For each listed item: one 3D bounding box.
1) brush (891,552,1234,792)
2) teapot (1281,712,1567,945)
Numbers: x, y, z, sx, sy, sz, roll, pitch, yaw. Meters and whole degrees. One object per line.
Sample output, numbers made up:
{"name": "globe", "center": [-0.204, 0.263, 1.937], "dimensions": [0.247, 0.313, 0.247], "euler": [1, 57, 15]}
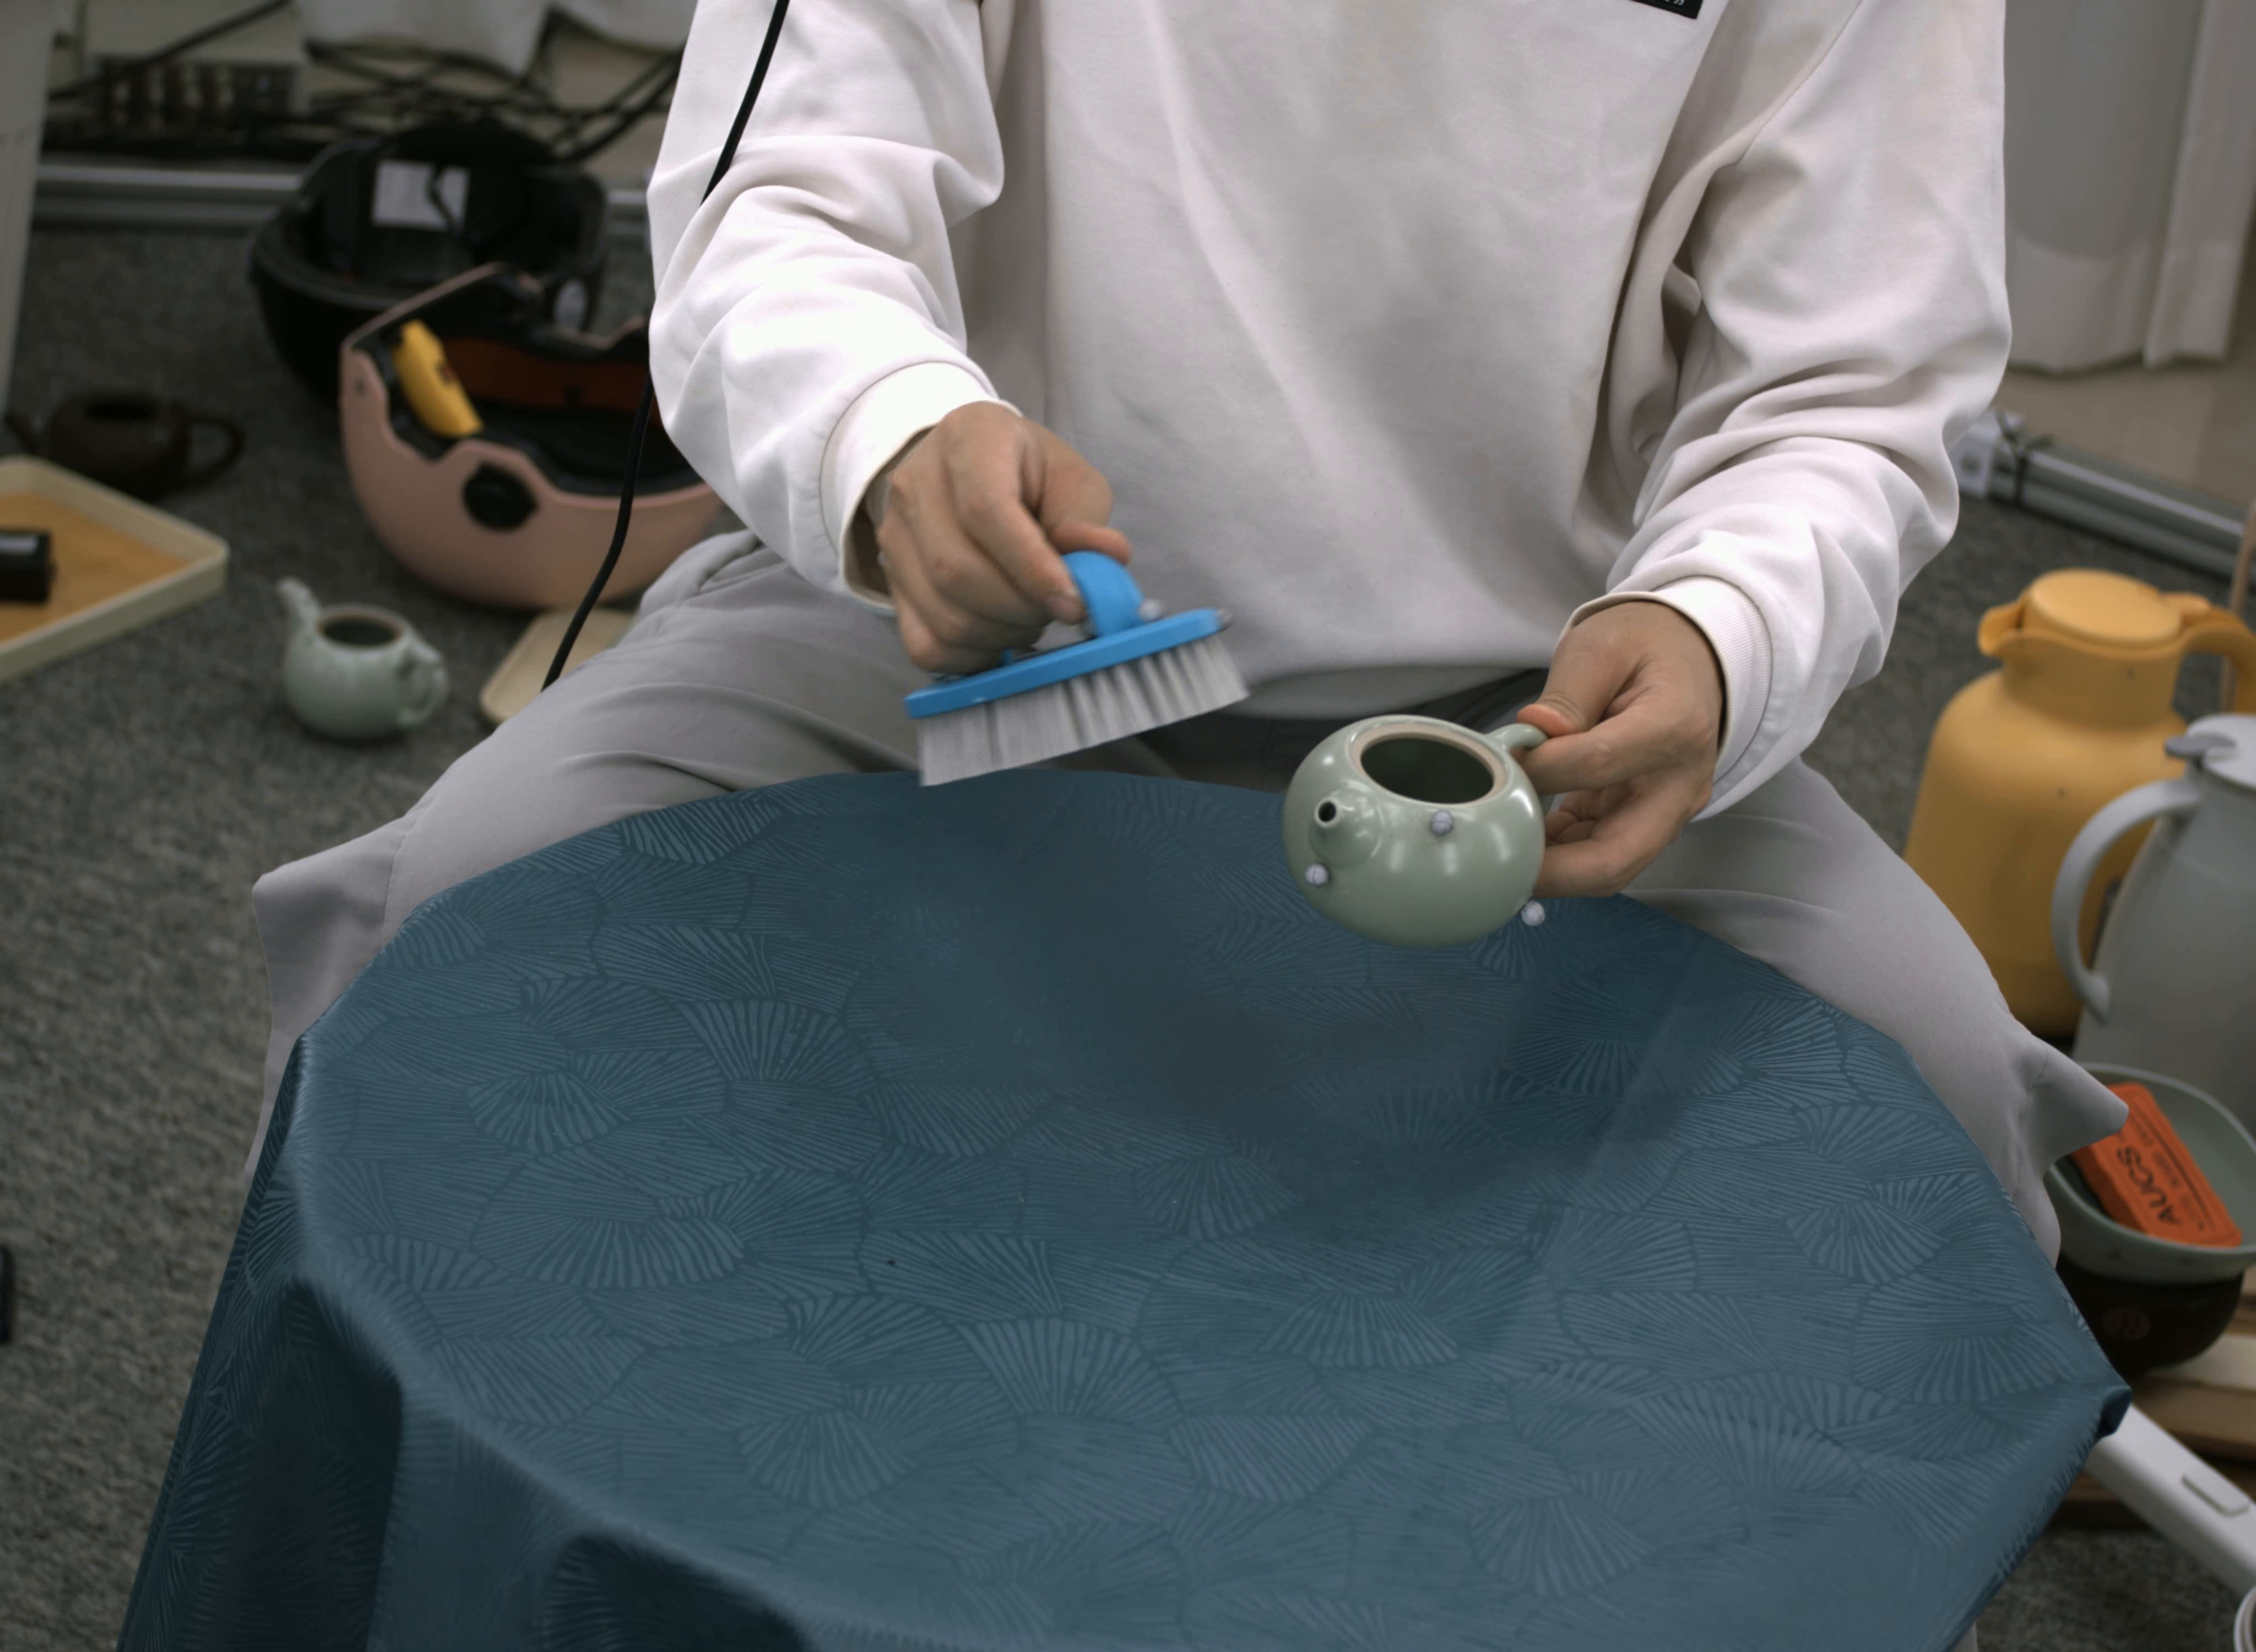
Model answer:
{"name": "brush", "center": [-0.029, -0.057, 1.803], "dimensions": [0.084, 0.064, 0.142], "euler": [-23, 5, -32]}
{"name": "teapot", "center": [0.105, -0.001, 1.834], "dimensions": [0.128, 0.061, 0.092], "euler": [-17, 37, -39]}
